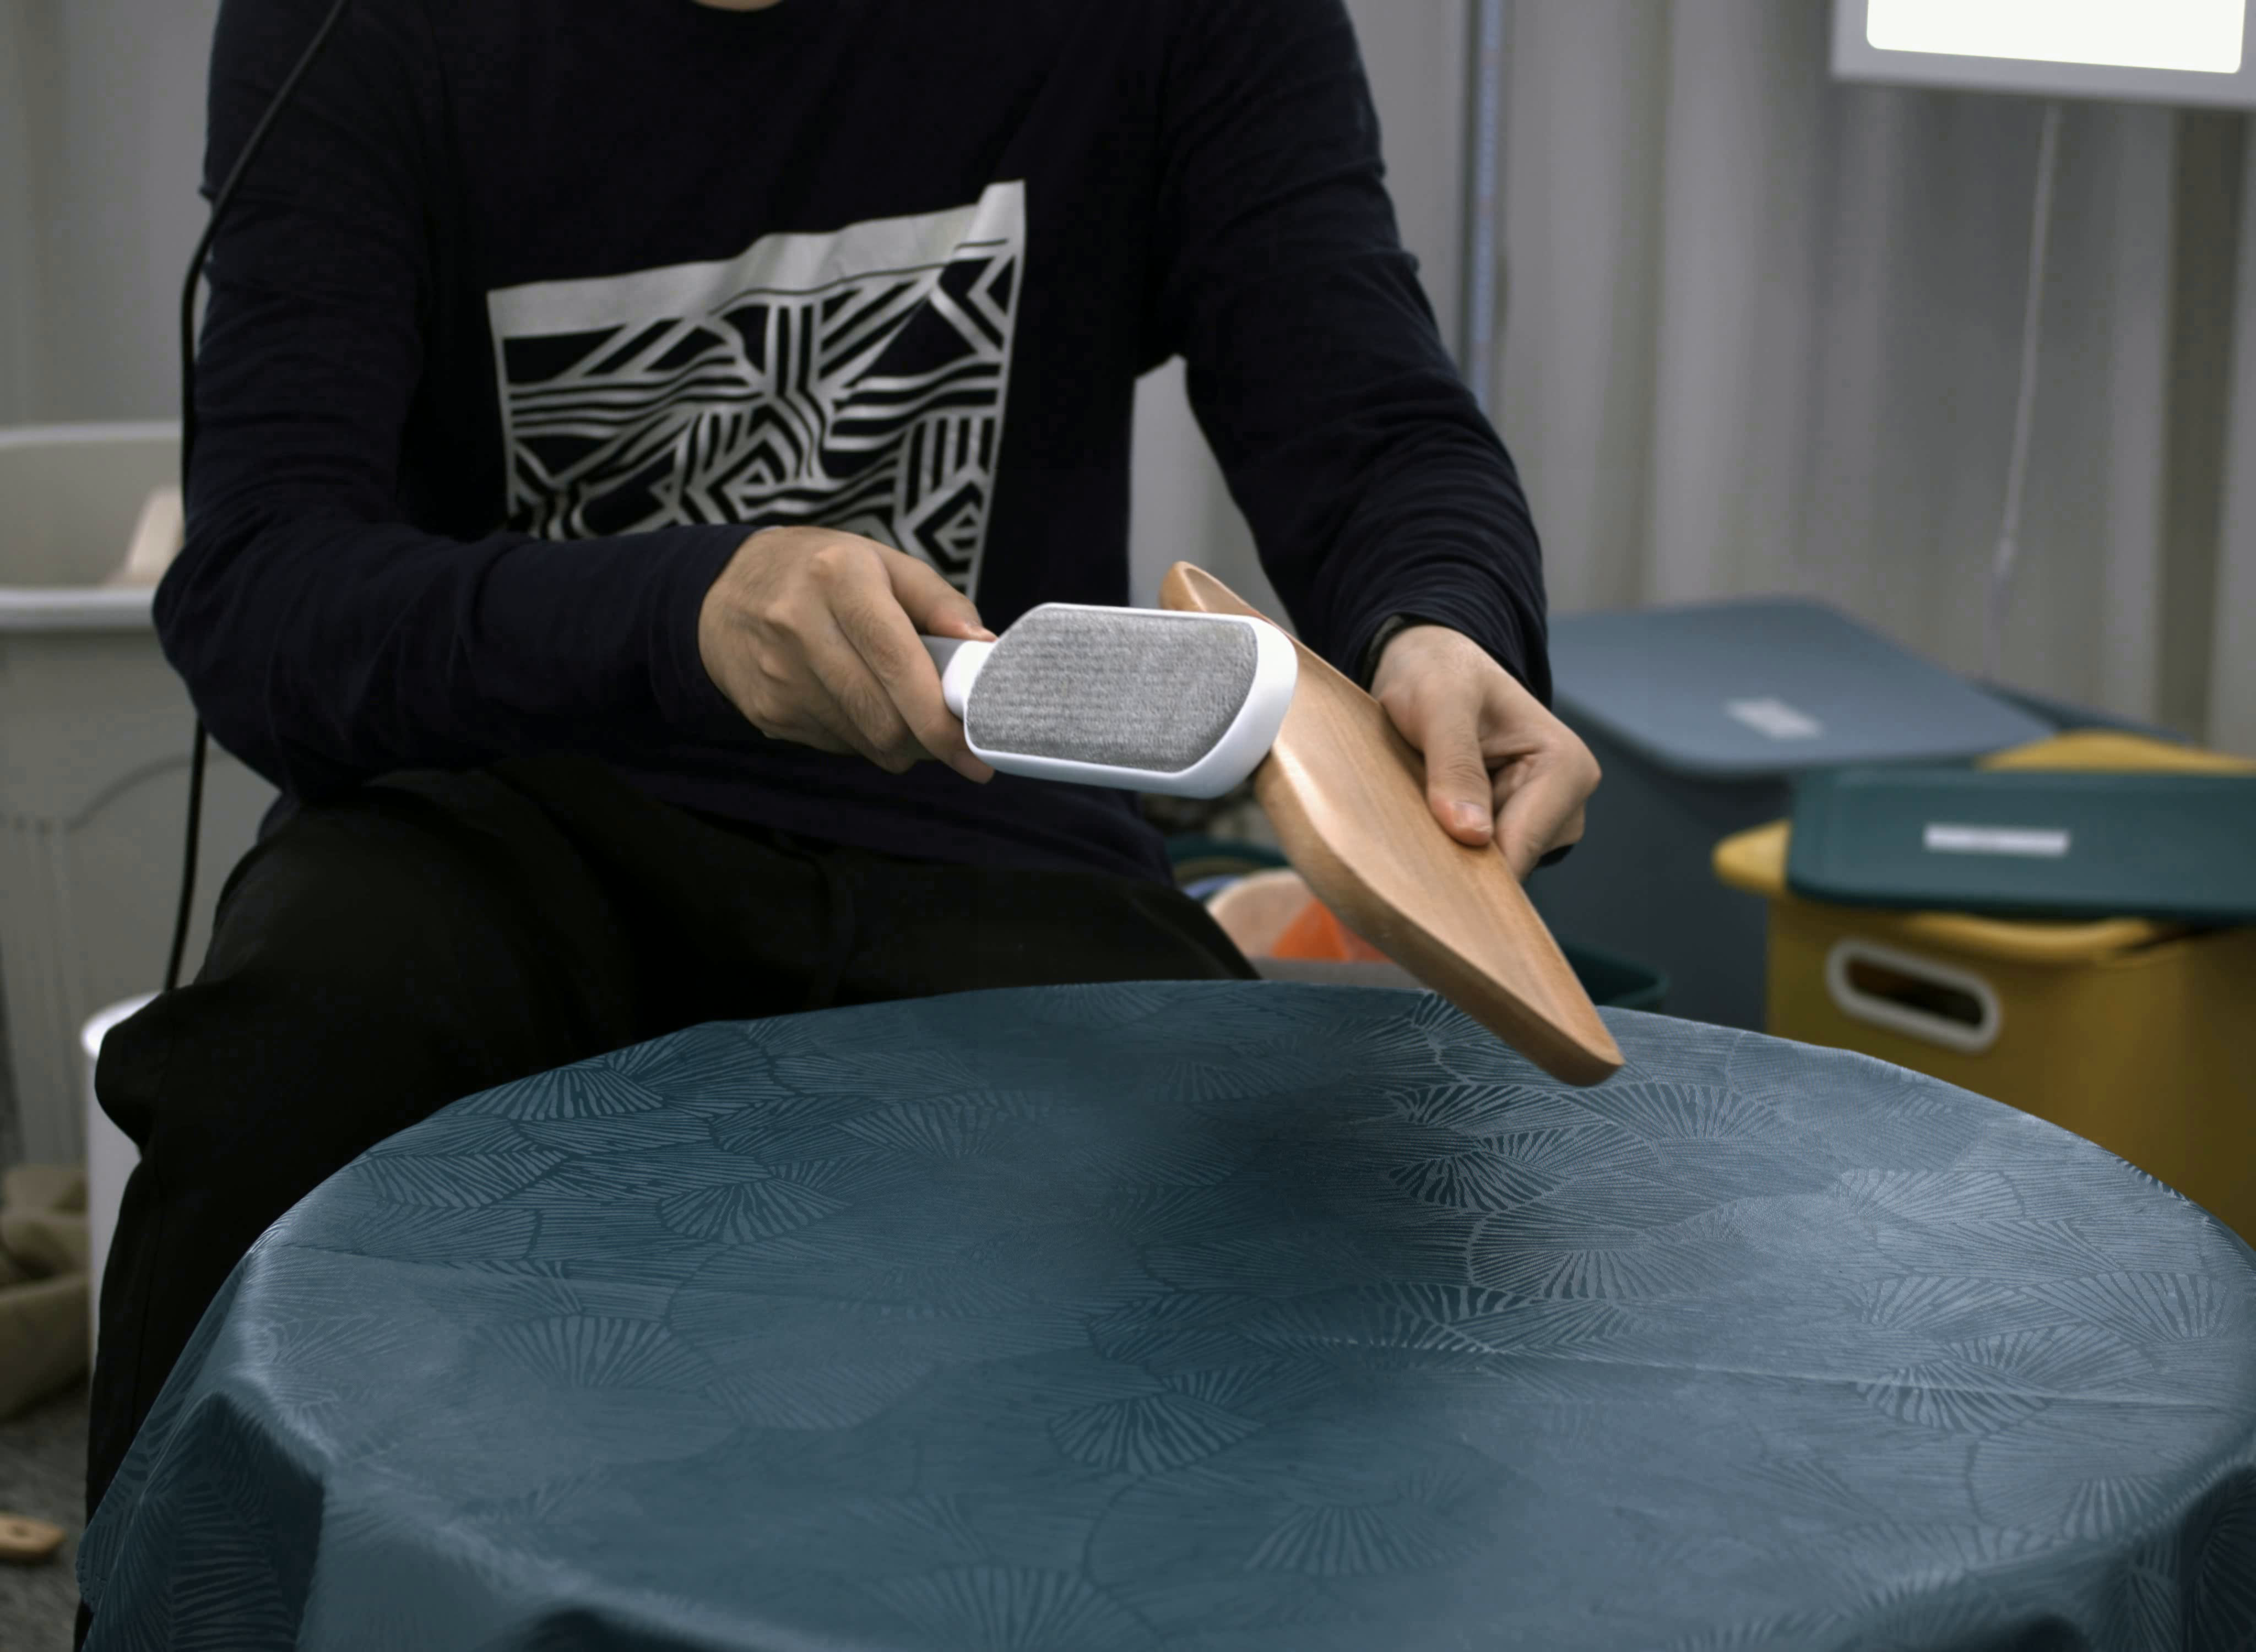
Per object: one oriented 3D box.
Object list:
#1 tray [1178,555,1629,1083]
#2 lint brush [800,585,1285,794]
[{"bbox_3d":[0.079,-0.004,1.609,0.132,0.023,0.248,40,11,-23],"label":"tray"},{"bbox_3d":[-0.033,-0.047,1.668,0.021,0.060,0.306,23,-7,-28],"label":"lint brush"}]
